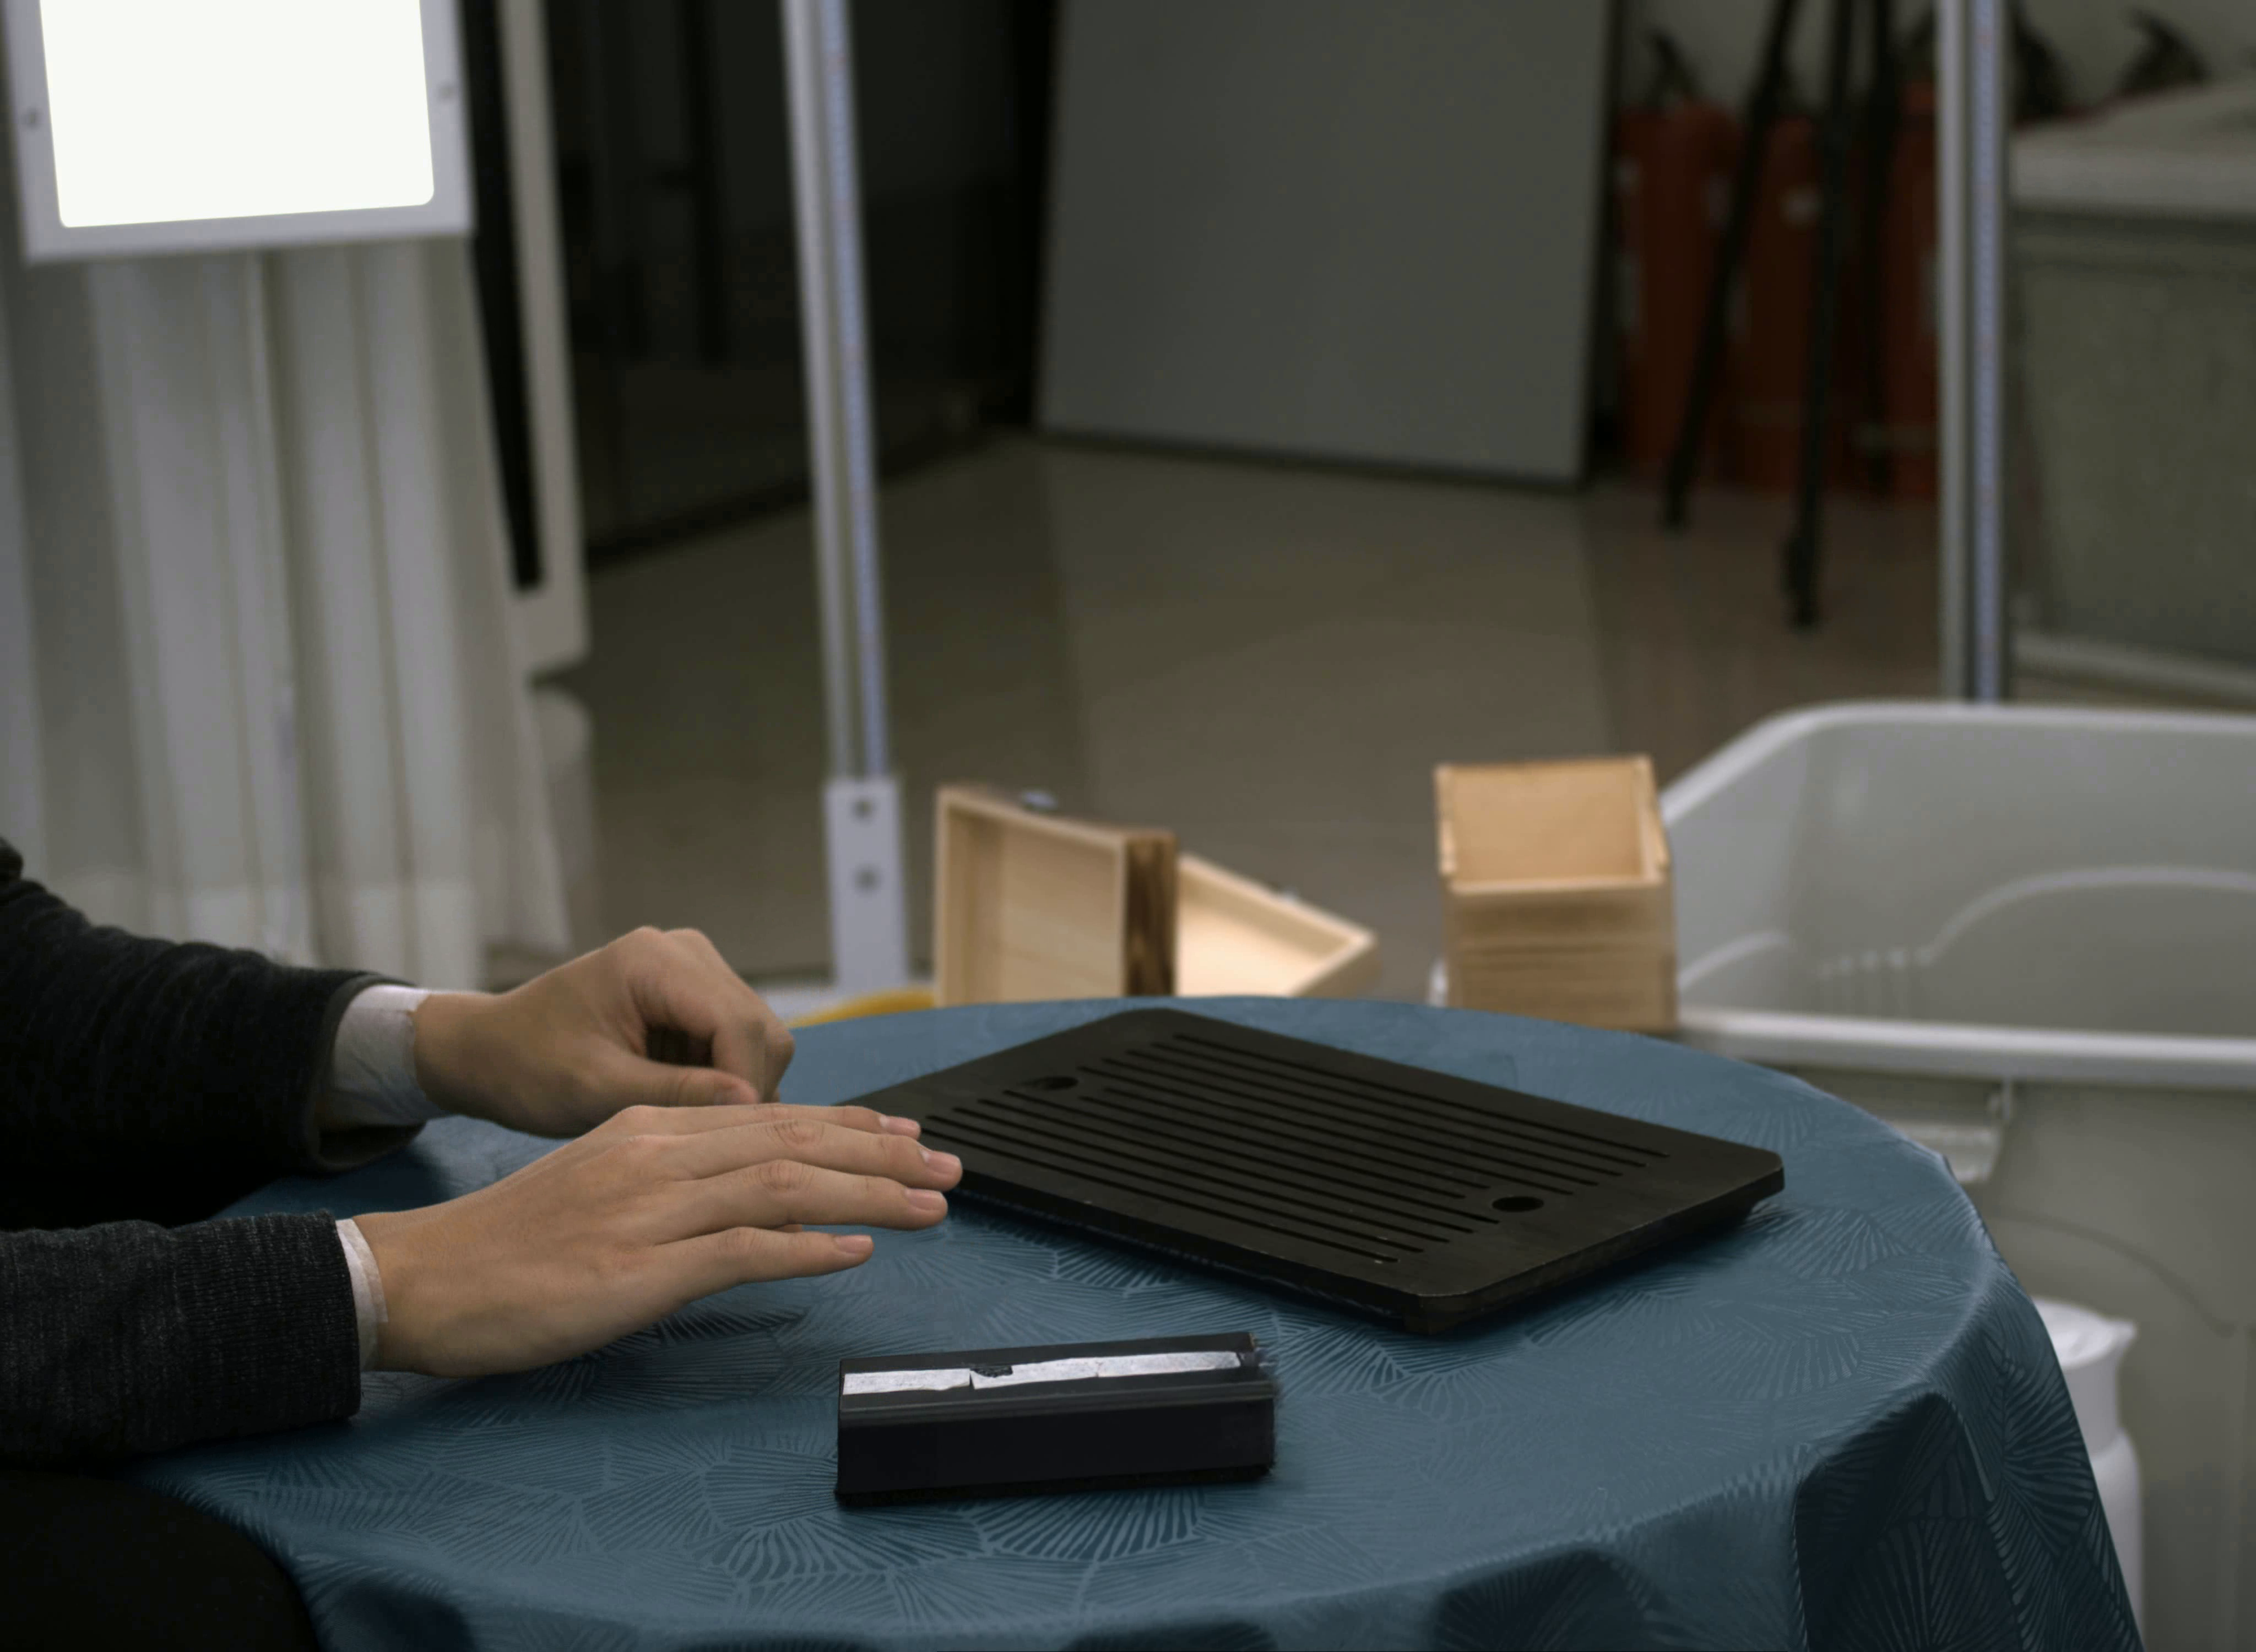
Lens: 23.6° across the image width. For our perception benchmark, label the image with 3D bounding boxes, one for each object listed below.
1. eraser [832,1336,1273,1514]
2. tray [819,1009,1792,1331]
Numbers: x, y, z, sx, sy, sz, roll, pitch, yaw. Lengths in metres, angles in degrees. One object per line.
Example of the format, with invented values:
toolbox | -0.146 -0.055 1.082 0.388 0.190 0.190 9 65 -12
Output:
eraser | -0.021 0.168 1.525 0.124 0.031 0.053 -6 11 0
tray | 0.054 0.109 1.764 0.166 0.019 0.309 -16 18 -40
